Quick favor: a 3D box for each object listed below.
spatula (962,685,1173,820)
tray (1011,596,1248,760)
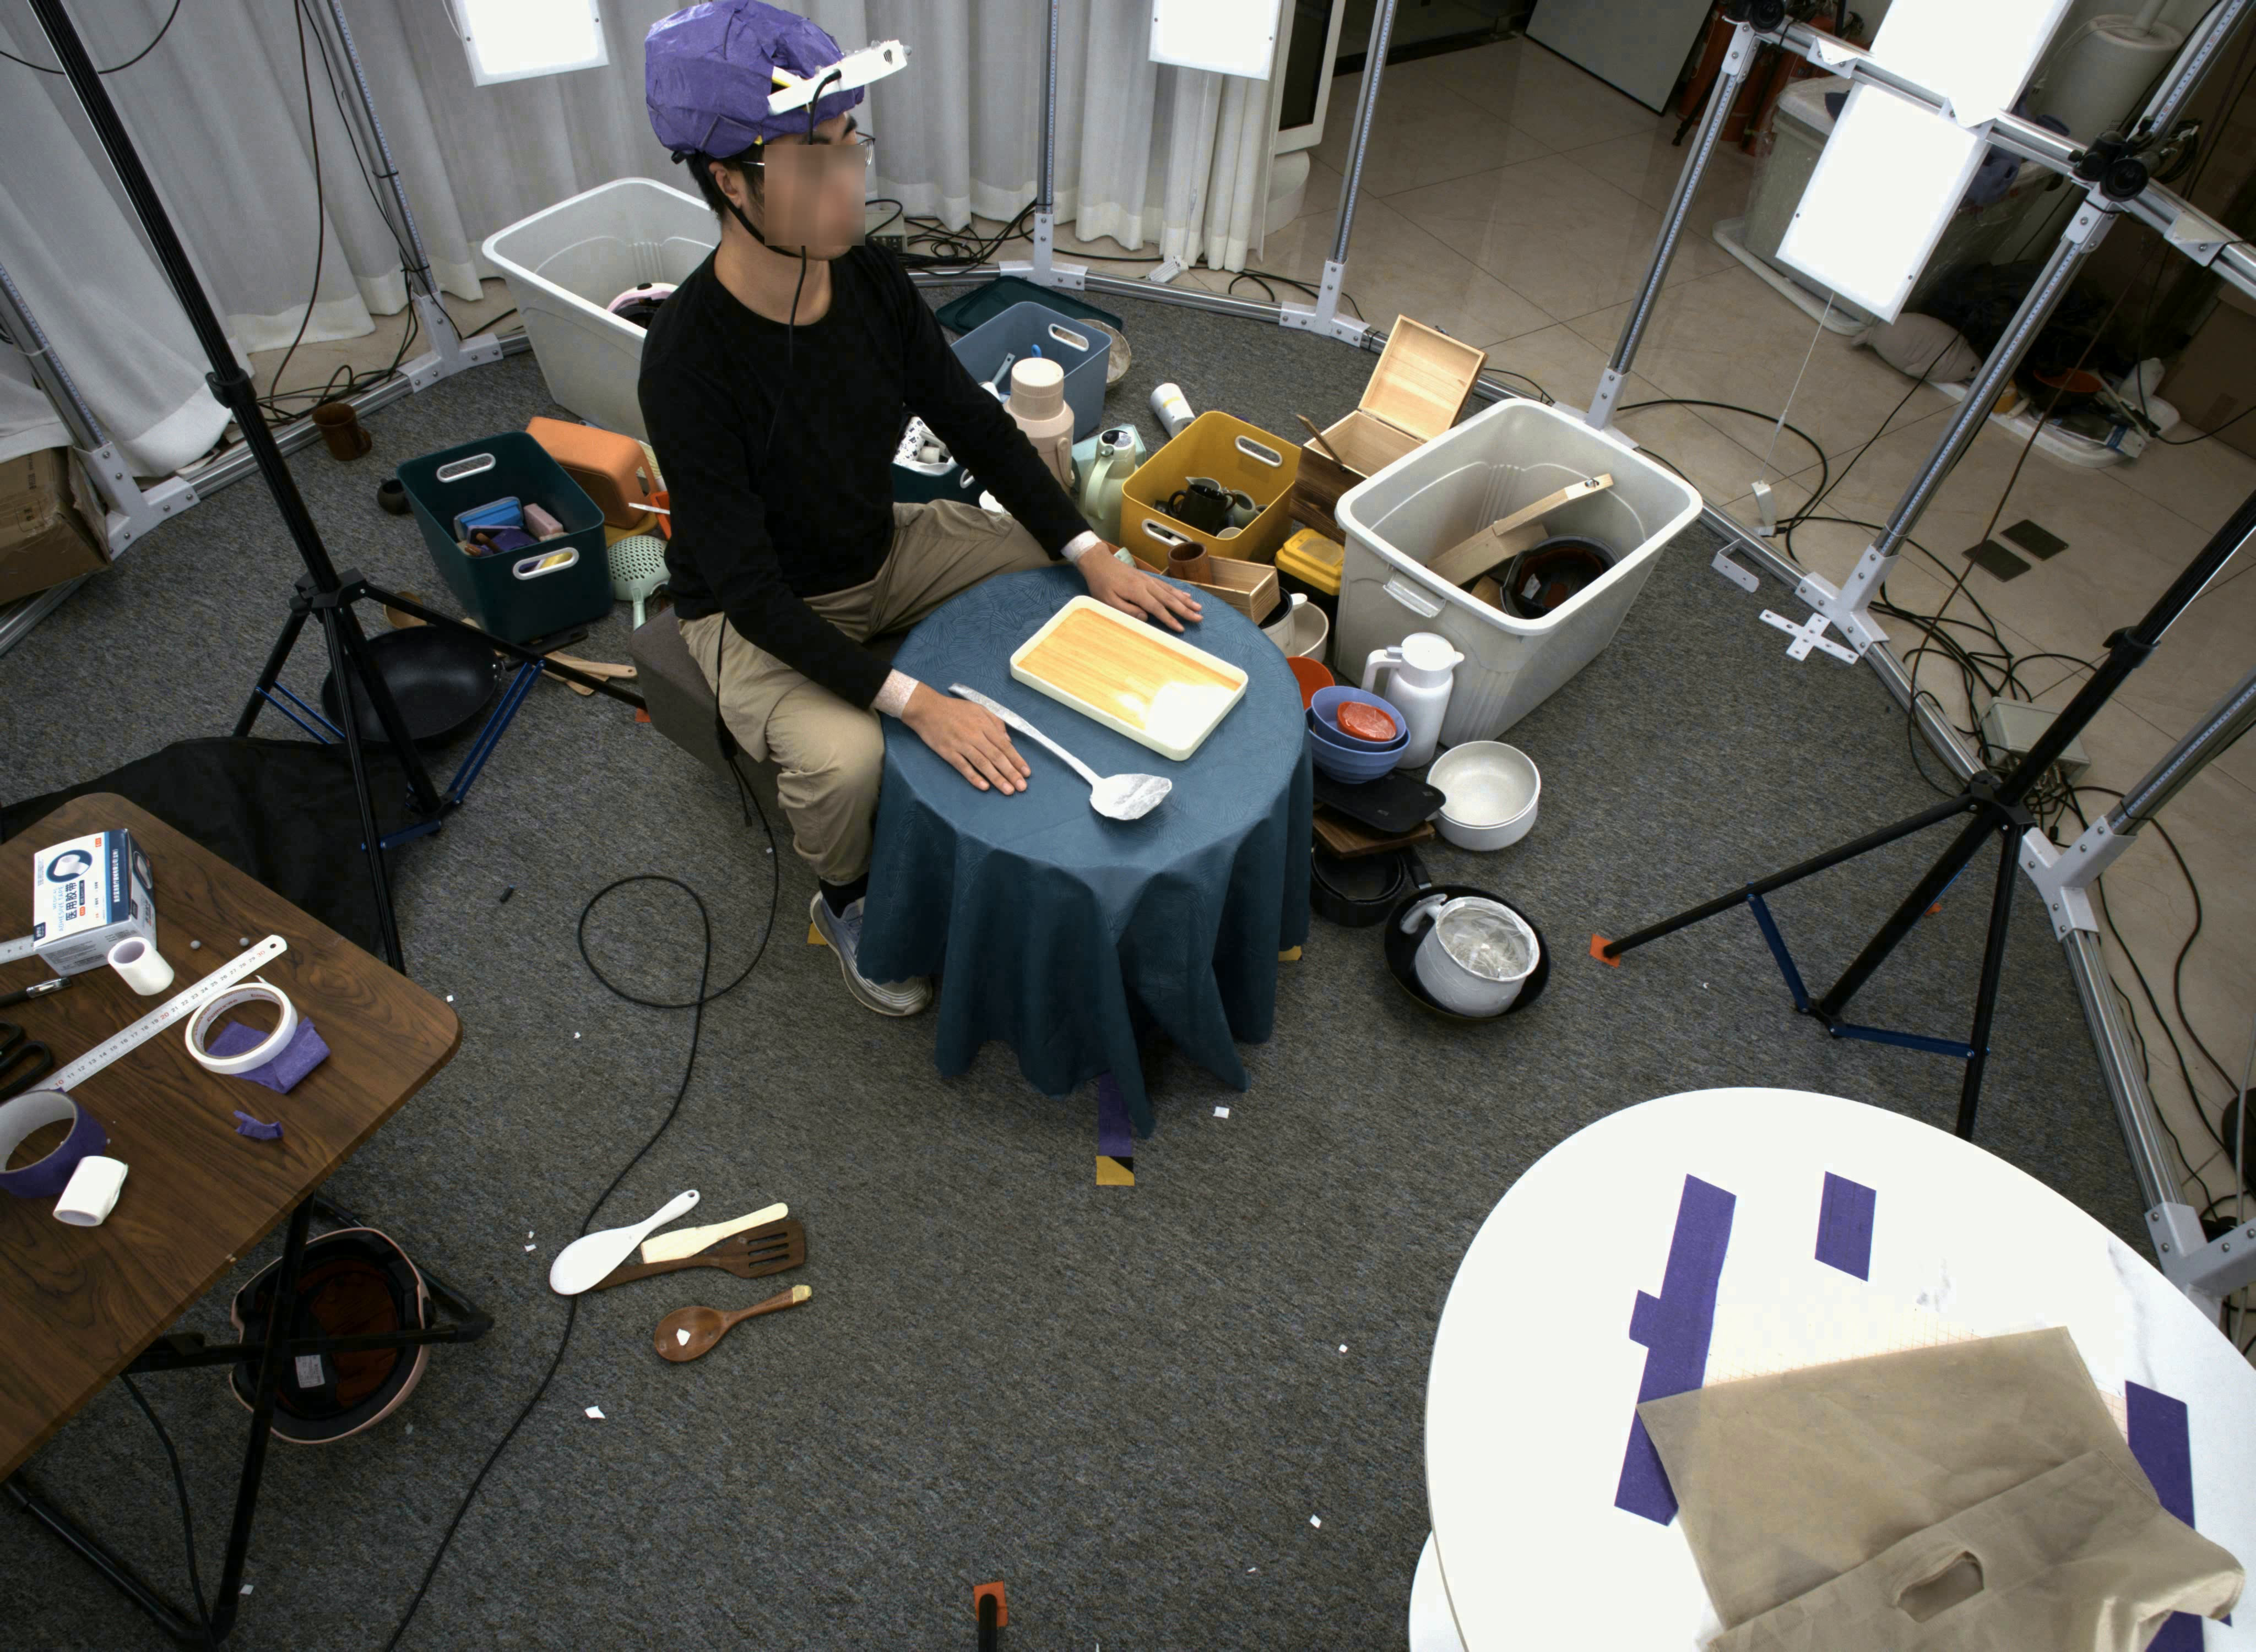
[{"bbox_3d":[-0.100,-0.112,1.735,0.369,0.044,0.100,35,56,23],"label":"spatula"},{"bbox_3d":[0.002,-0.218,1.841,0.303,0.027,0.194,29,53,20],"label":"tray"}]
